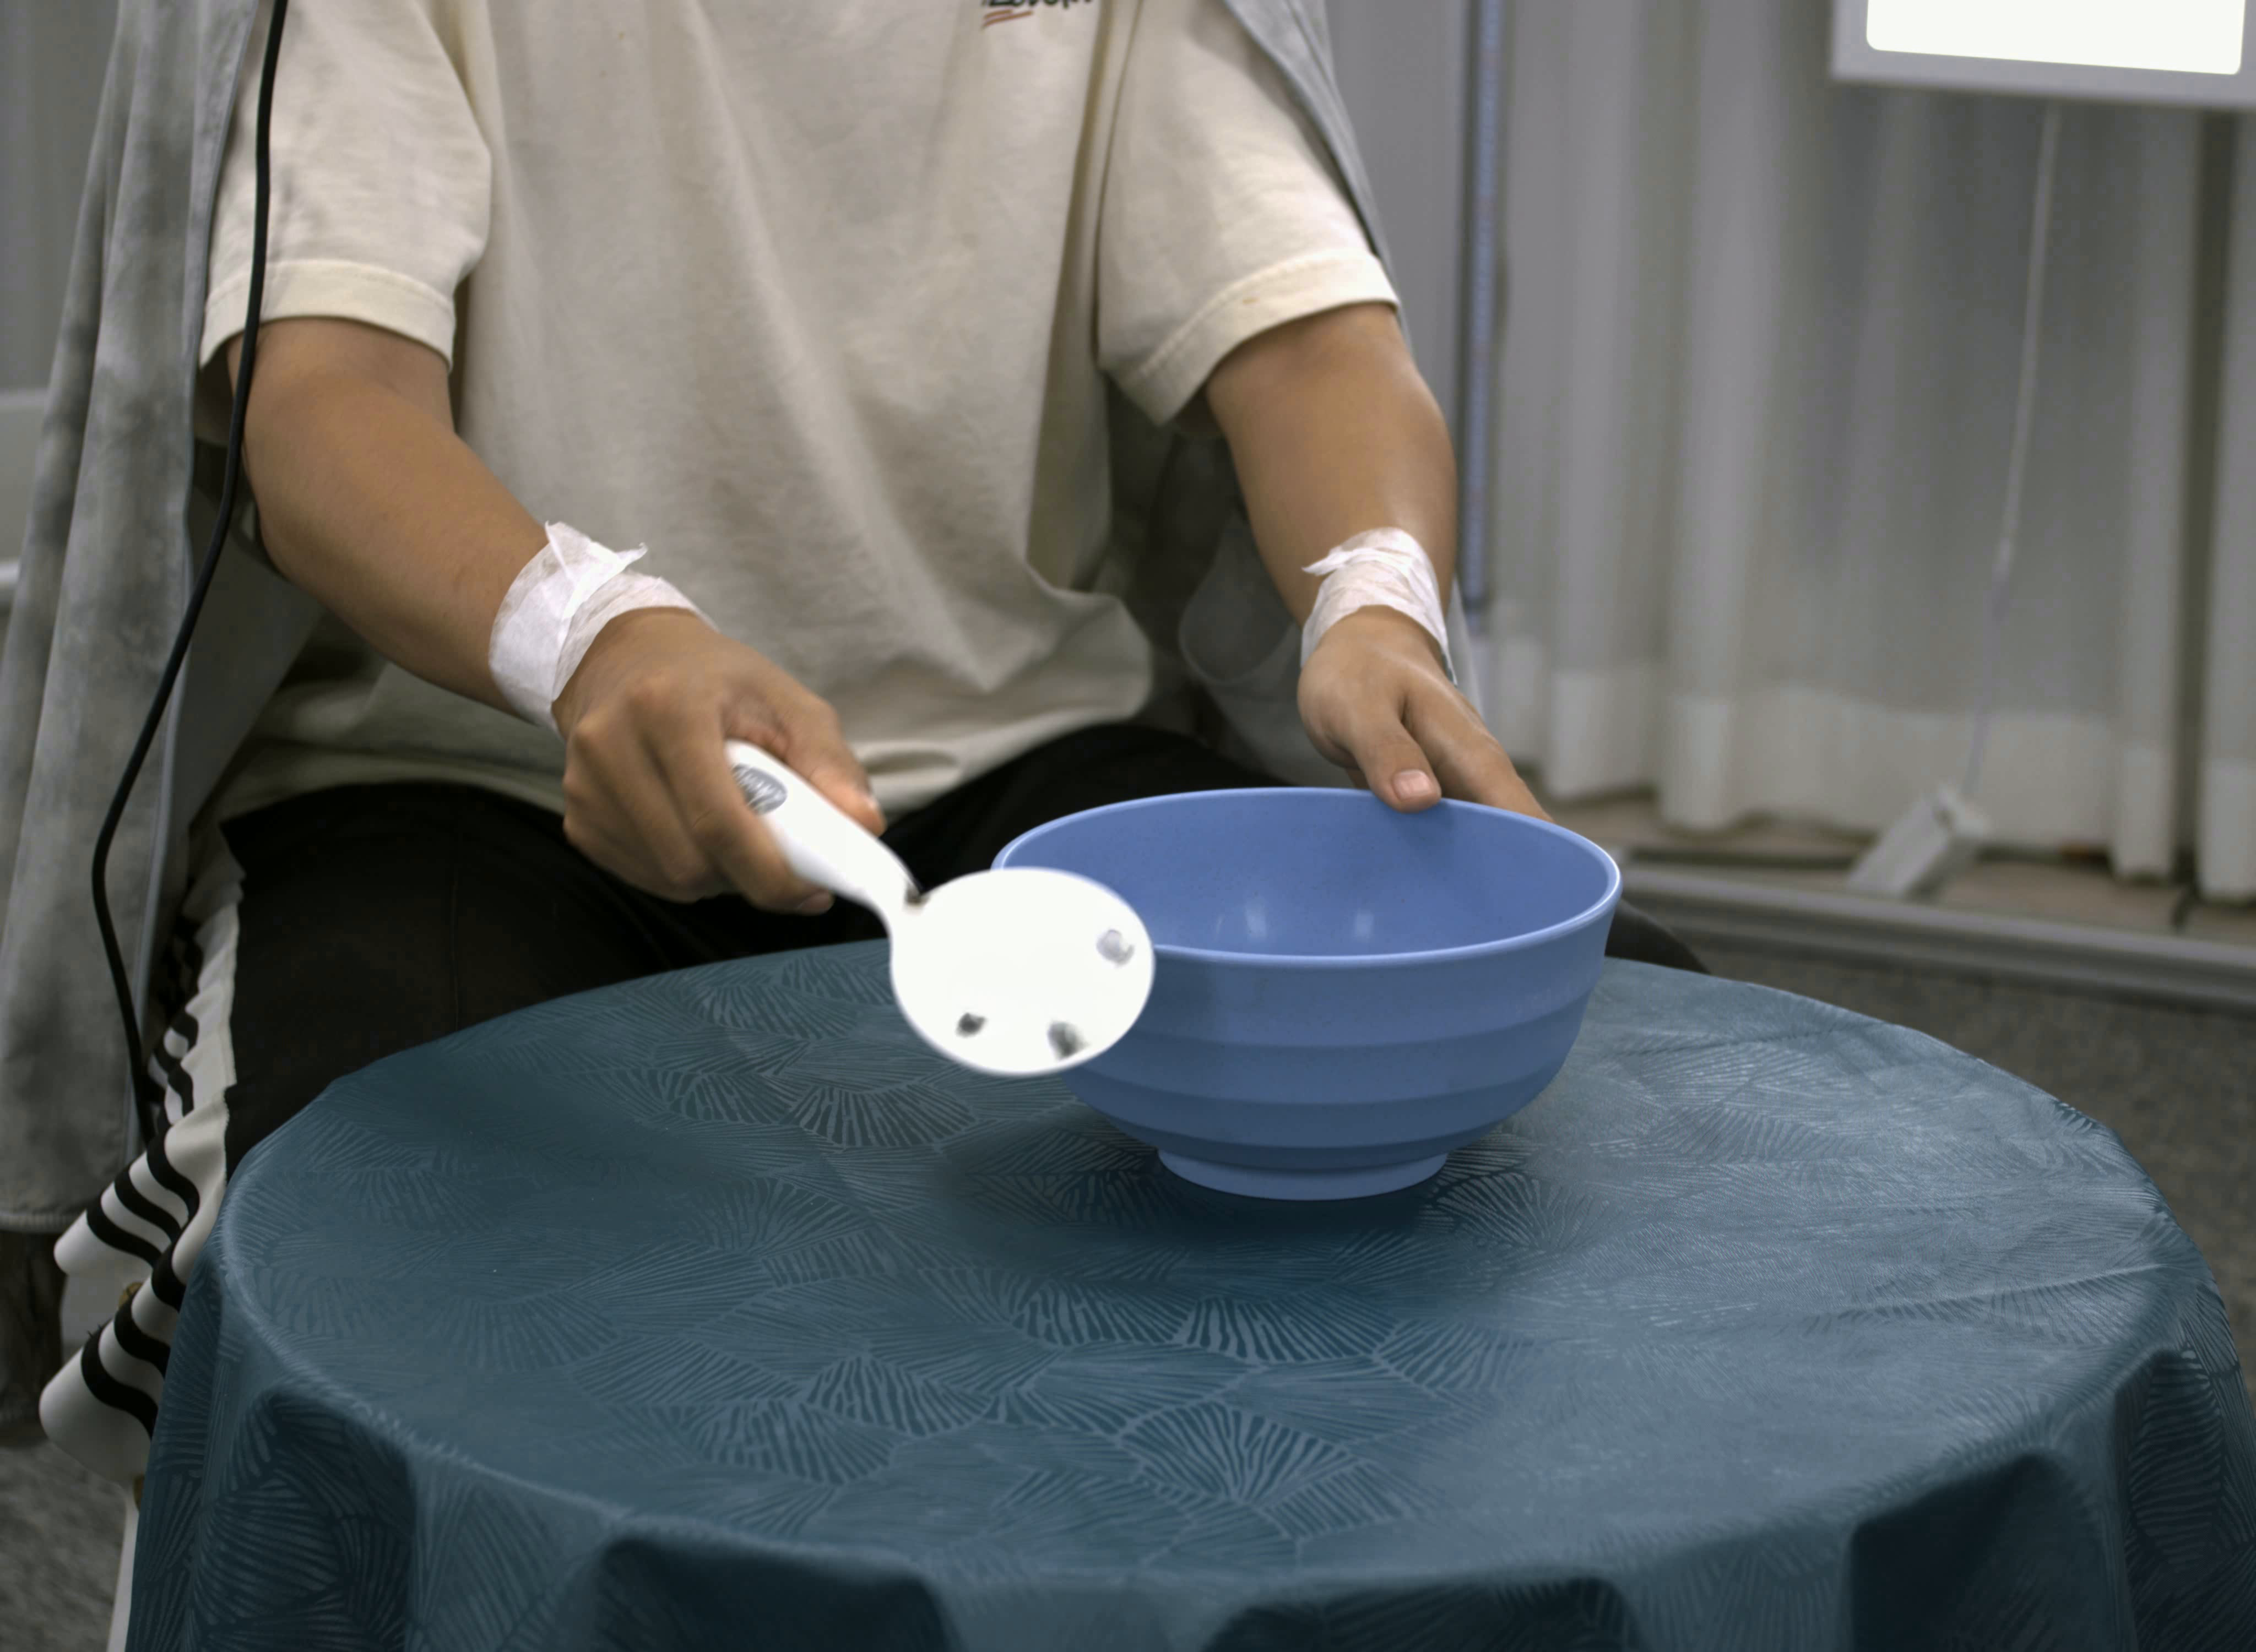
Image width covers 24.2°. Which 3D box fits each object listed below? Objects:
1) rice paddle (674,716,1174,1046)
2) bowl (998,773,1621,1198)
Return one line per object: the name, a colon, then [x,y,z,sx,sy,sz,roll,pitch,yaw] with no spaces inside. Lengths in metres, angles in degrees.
rice paddle: [-0.062,0.014,1.572,0.202,0.030,0.069,28,67,41]
bowl: [0.055,0.056,1.647,0.196,0.096,0.195,0,18,0]
